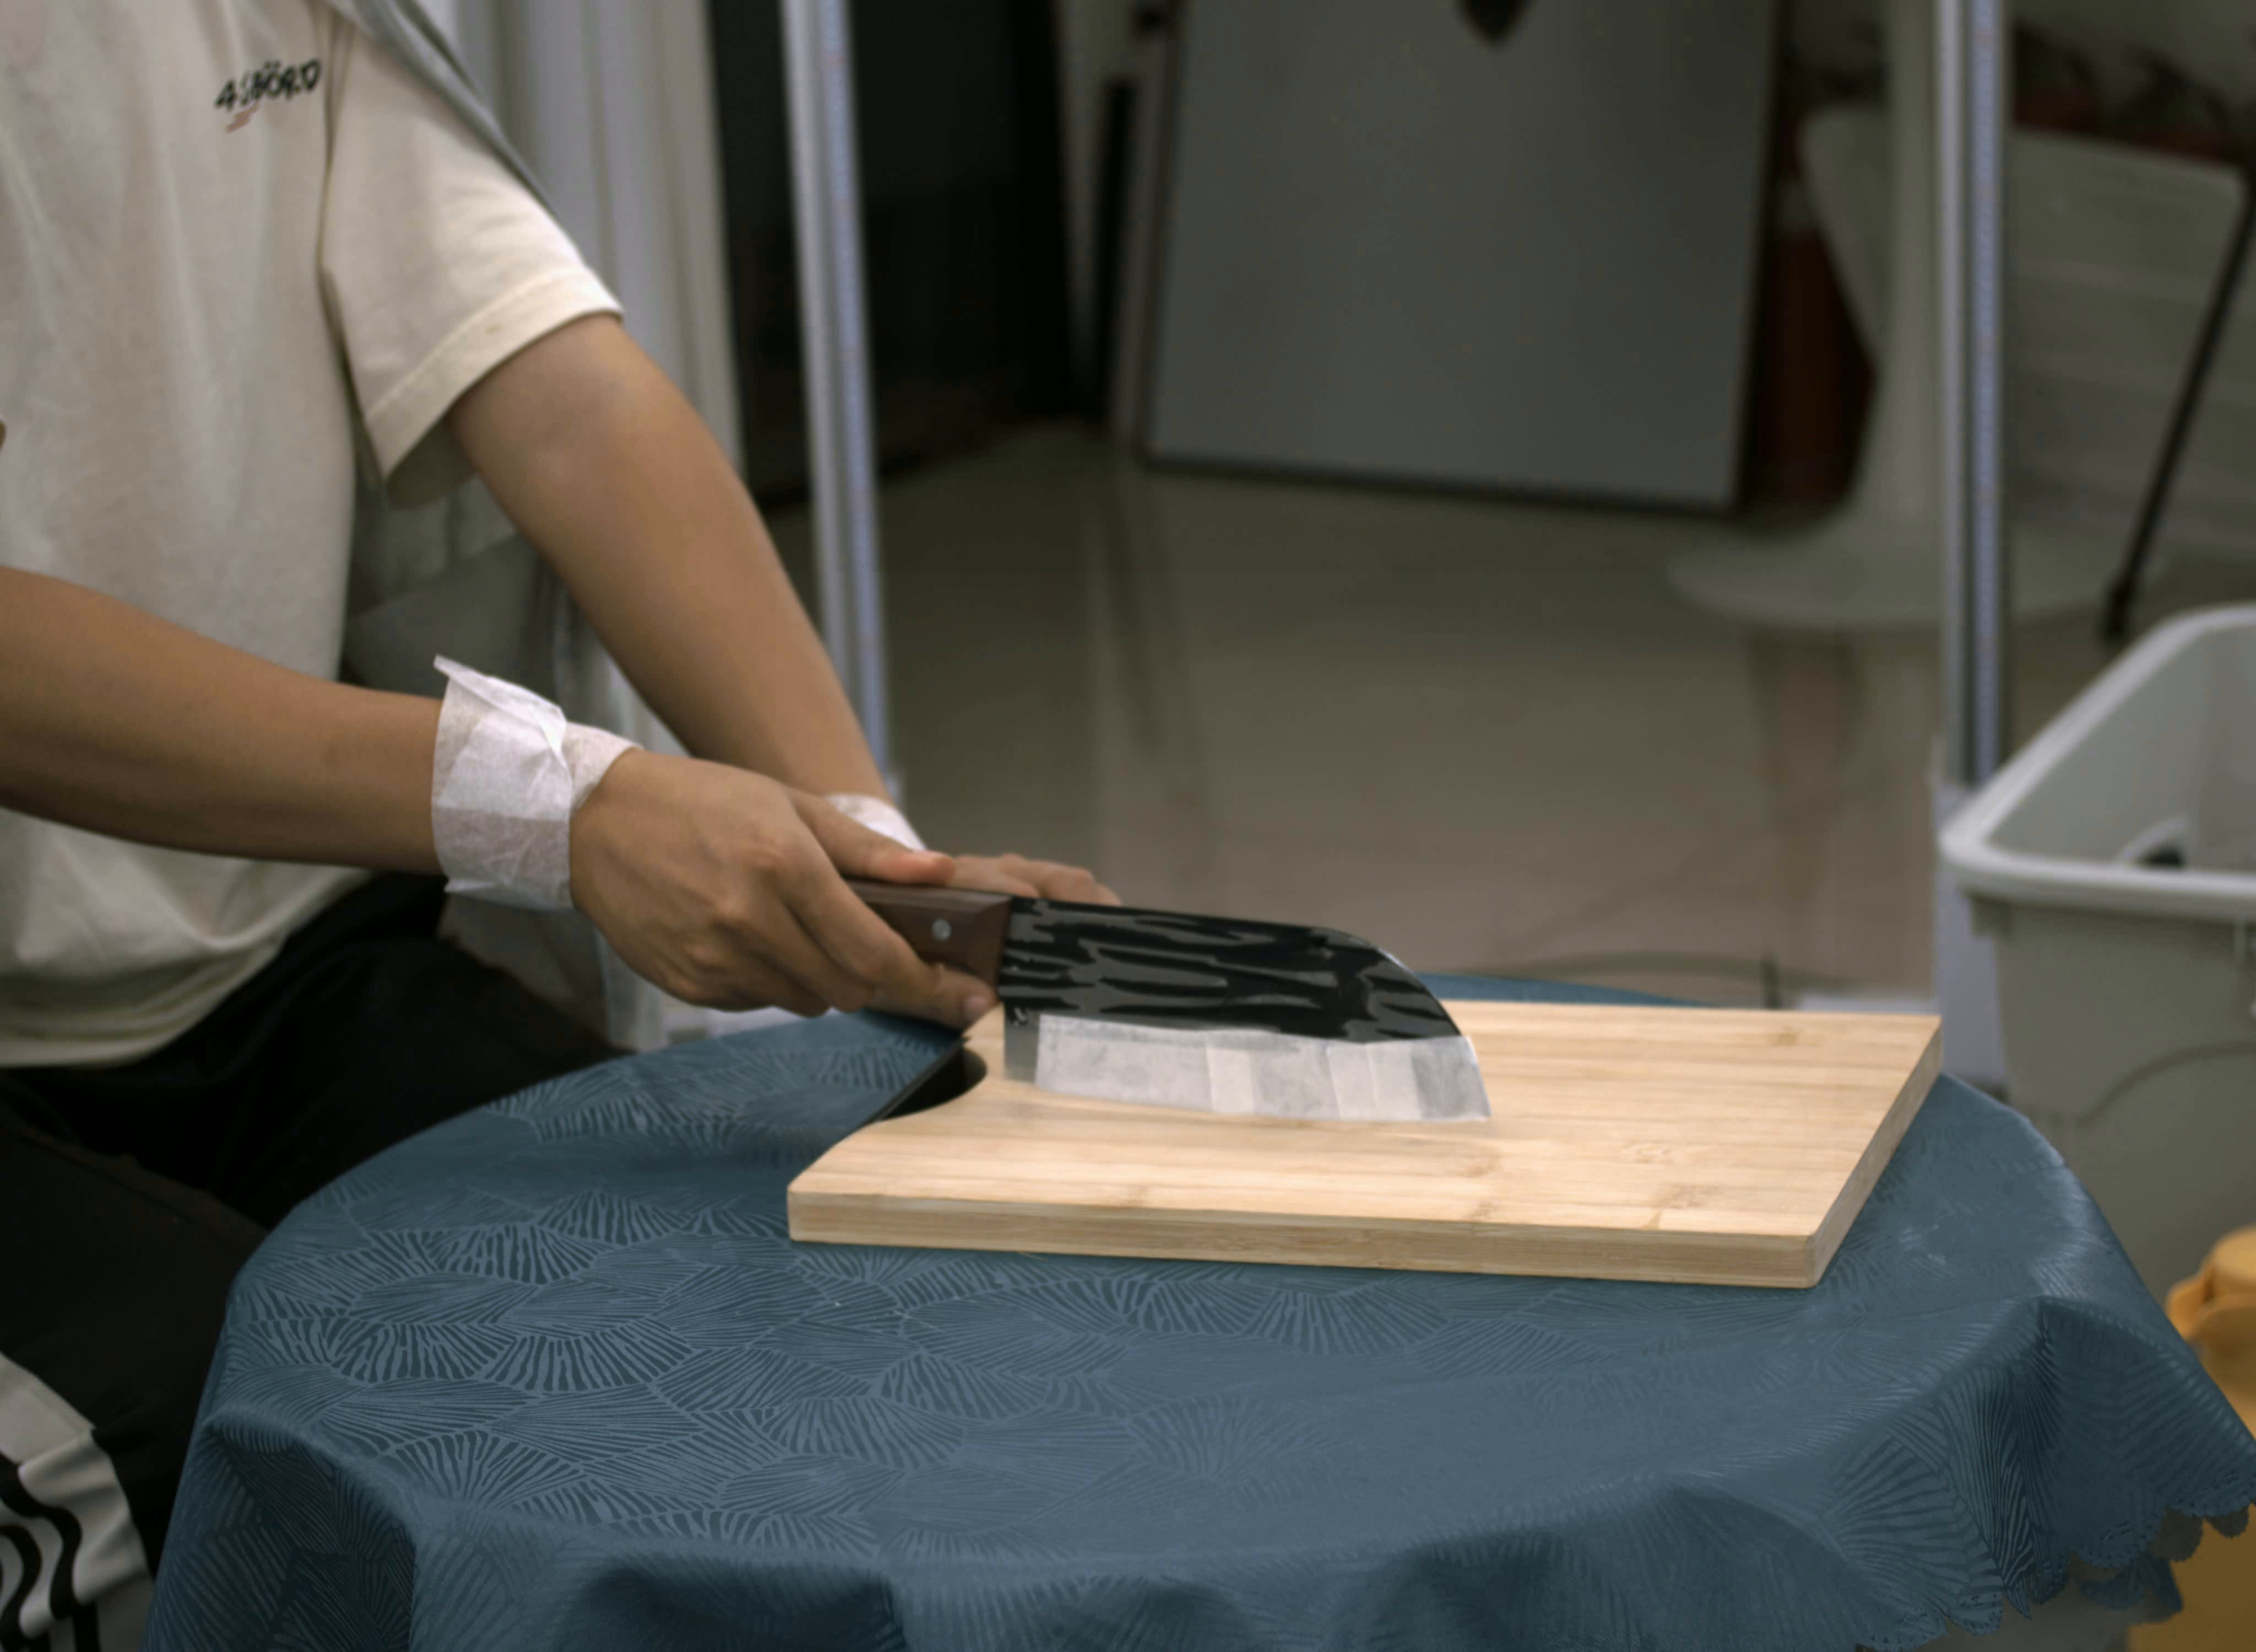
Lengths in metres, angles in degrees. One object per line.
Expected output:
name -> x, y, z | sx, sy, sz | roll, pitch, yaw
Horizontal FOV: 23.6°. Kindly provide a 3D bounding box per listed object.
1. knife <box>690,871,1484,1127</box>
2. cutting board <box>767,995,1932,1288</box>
knife -> -0.017, 0.058, 1.803 | 0.300, 0.069, 0.023 | 7, 10, 27
cutting board -> 0.080, 0.102, 1.798 | 0.348, 0.024, 0.248 | 0, 14, 18
